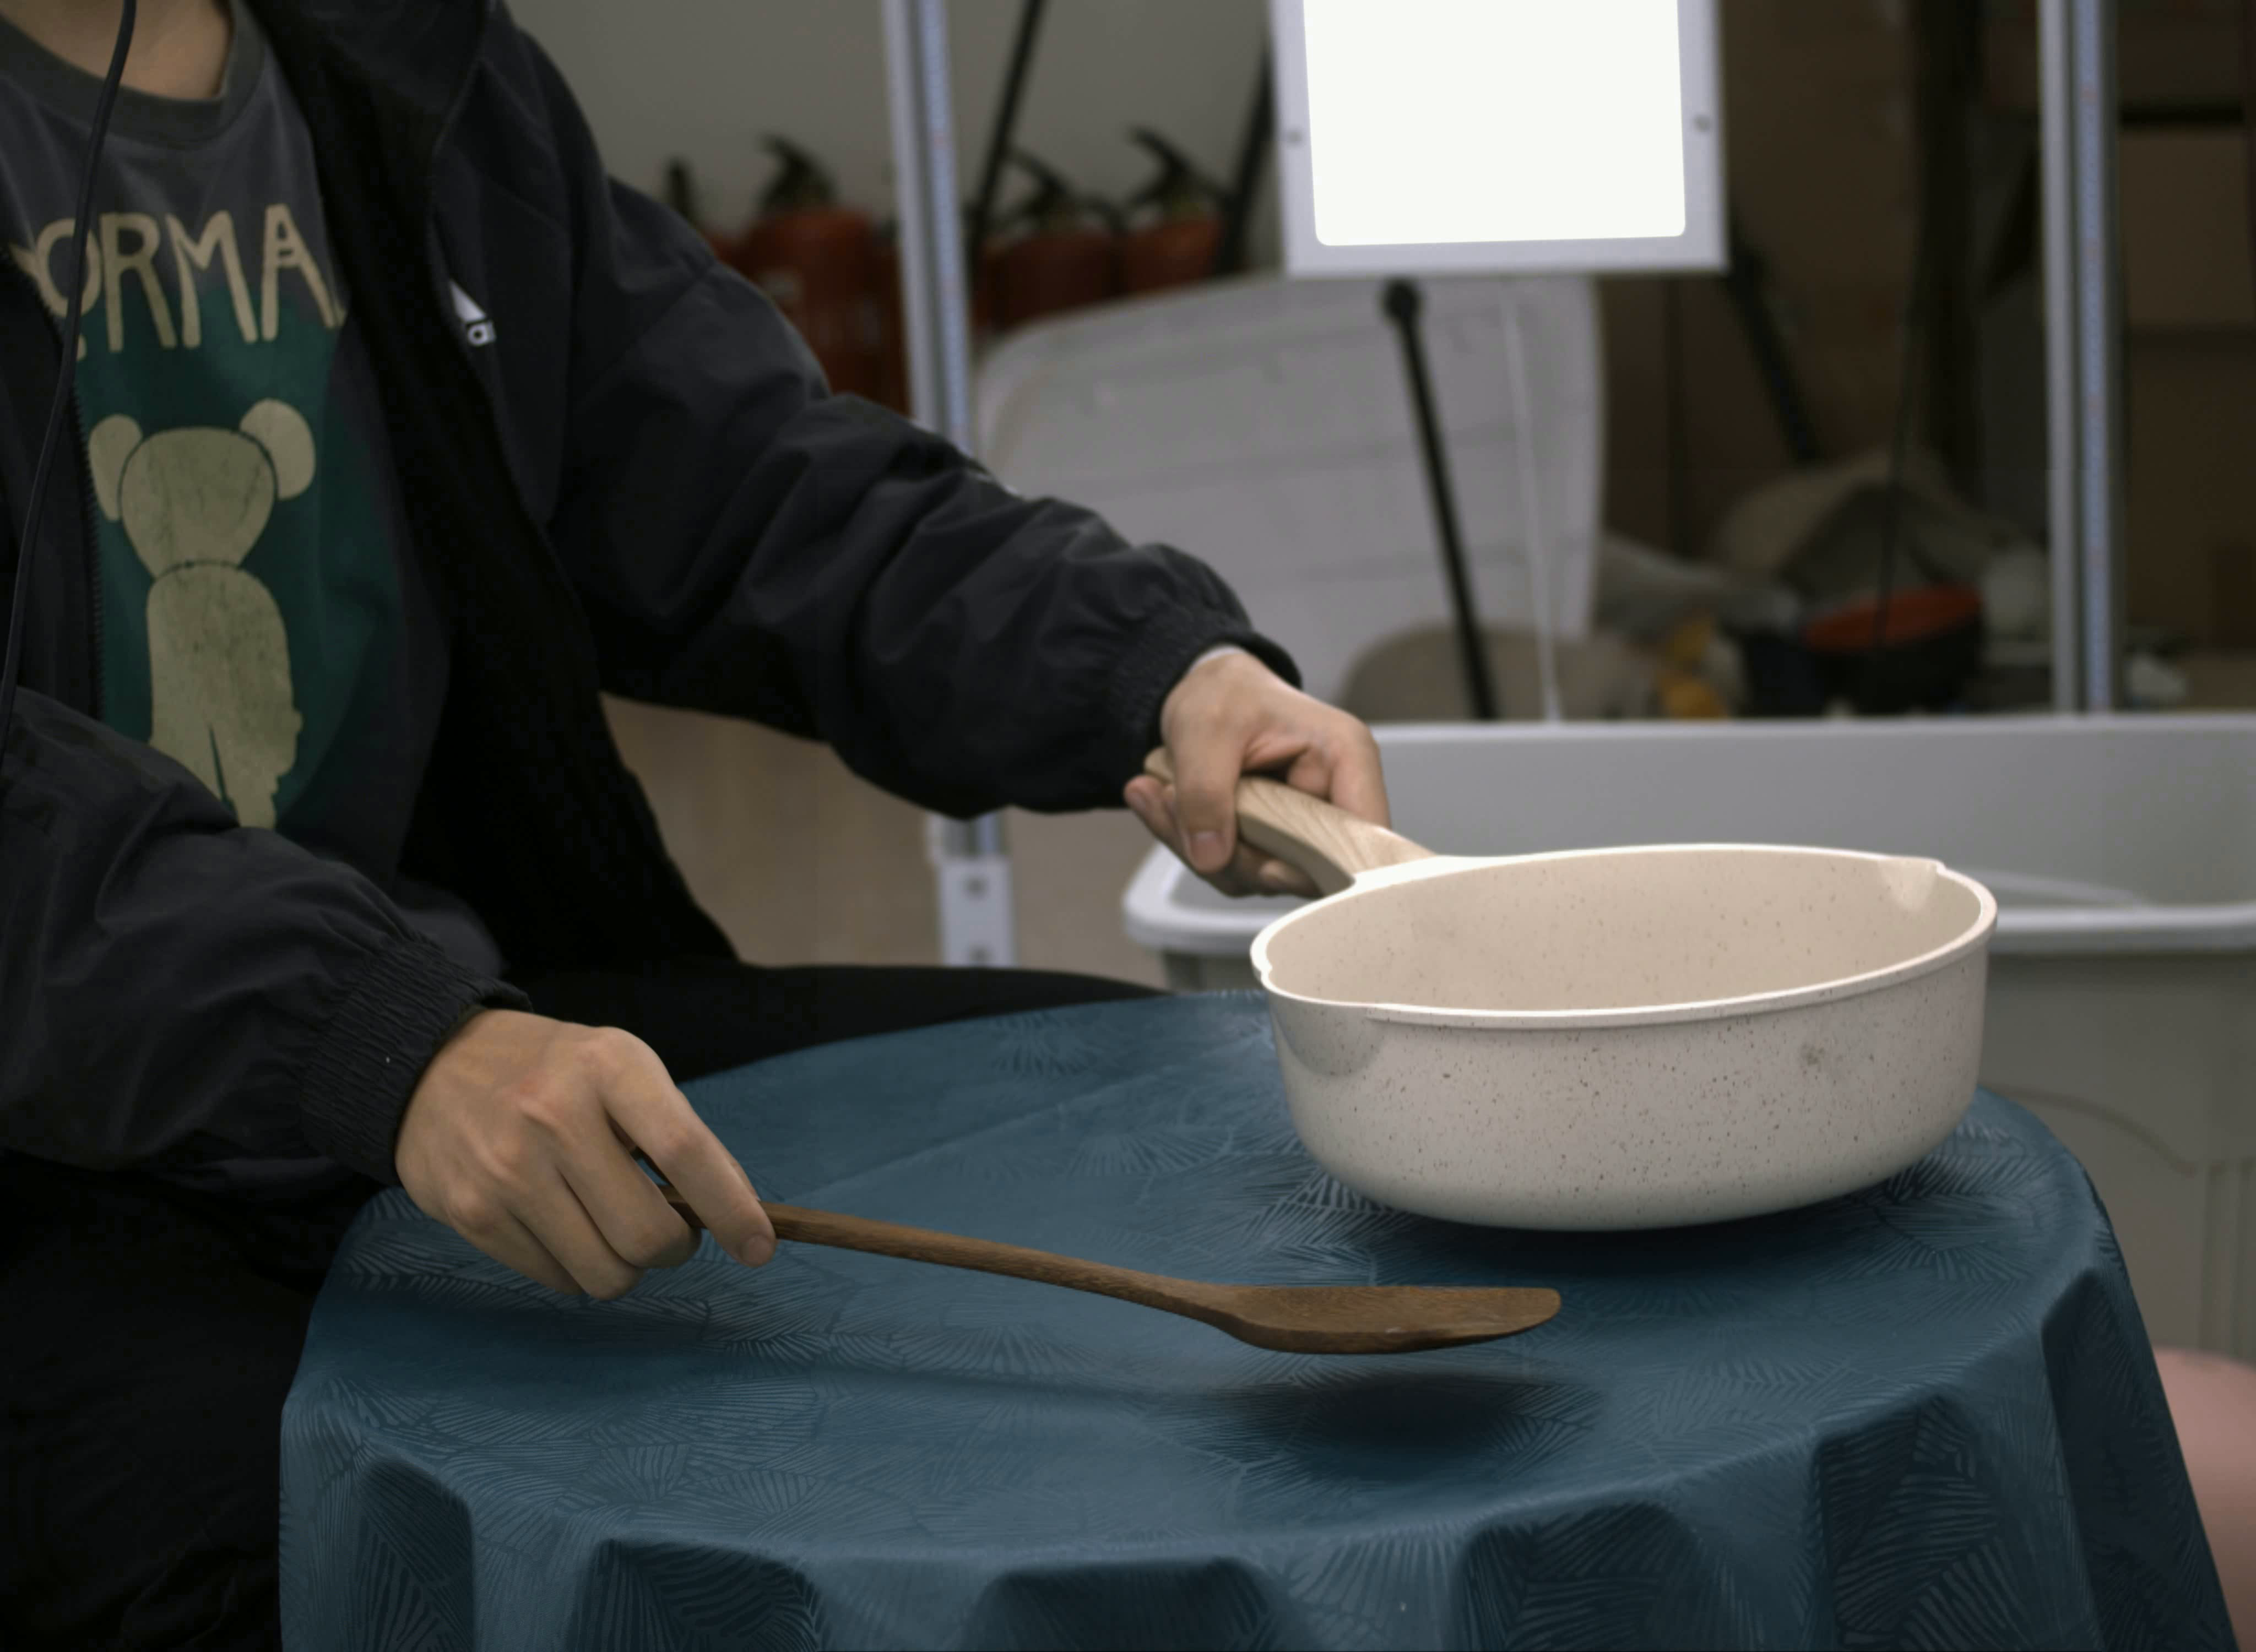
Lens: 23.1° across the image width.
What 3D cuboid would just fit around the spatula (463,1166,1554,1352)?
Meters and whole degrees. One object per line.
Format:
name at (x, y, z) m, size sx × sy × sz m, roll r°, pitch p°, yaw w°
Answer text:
spatula at (-0.050, 0.134, 1.728) m, size 0.393 × 0.016 × 0.094 m, roll 6°, pitch 8°, yaw 30°

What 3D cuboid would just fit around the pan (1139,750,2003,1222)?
pan at (0.127, 0.048, 1.926) m, size 0.258 × 0.102 × 0.442 m, roll -13°, pitch 14°, yaw -26°
